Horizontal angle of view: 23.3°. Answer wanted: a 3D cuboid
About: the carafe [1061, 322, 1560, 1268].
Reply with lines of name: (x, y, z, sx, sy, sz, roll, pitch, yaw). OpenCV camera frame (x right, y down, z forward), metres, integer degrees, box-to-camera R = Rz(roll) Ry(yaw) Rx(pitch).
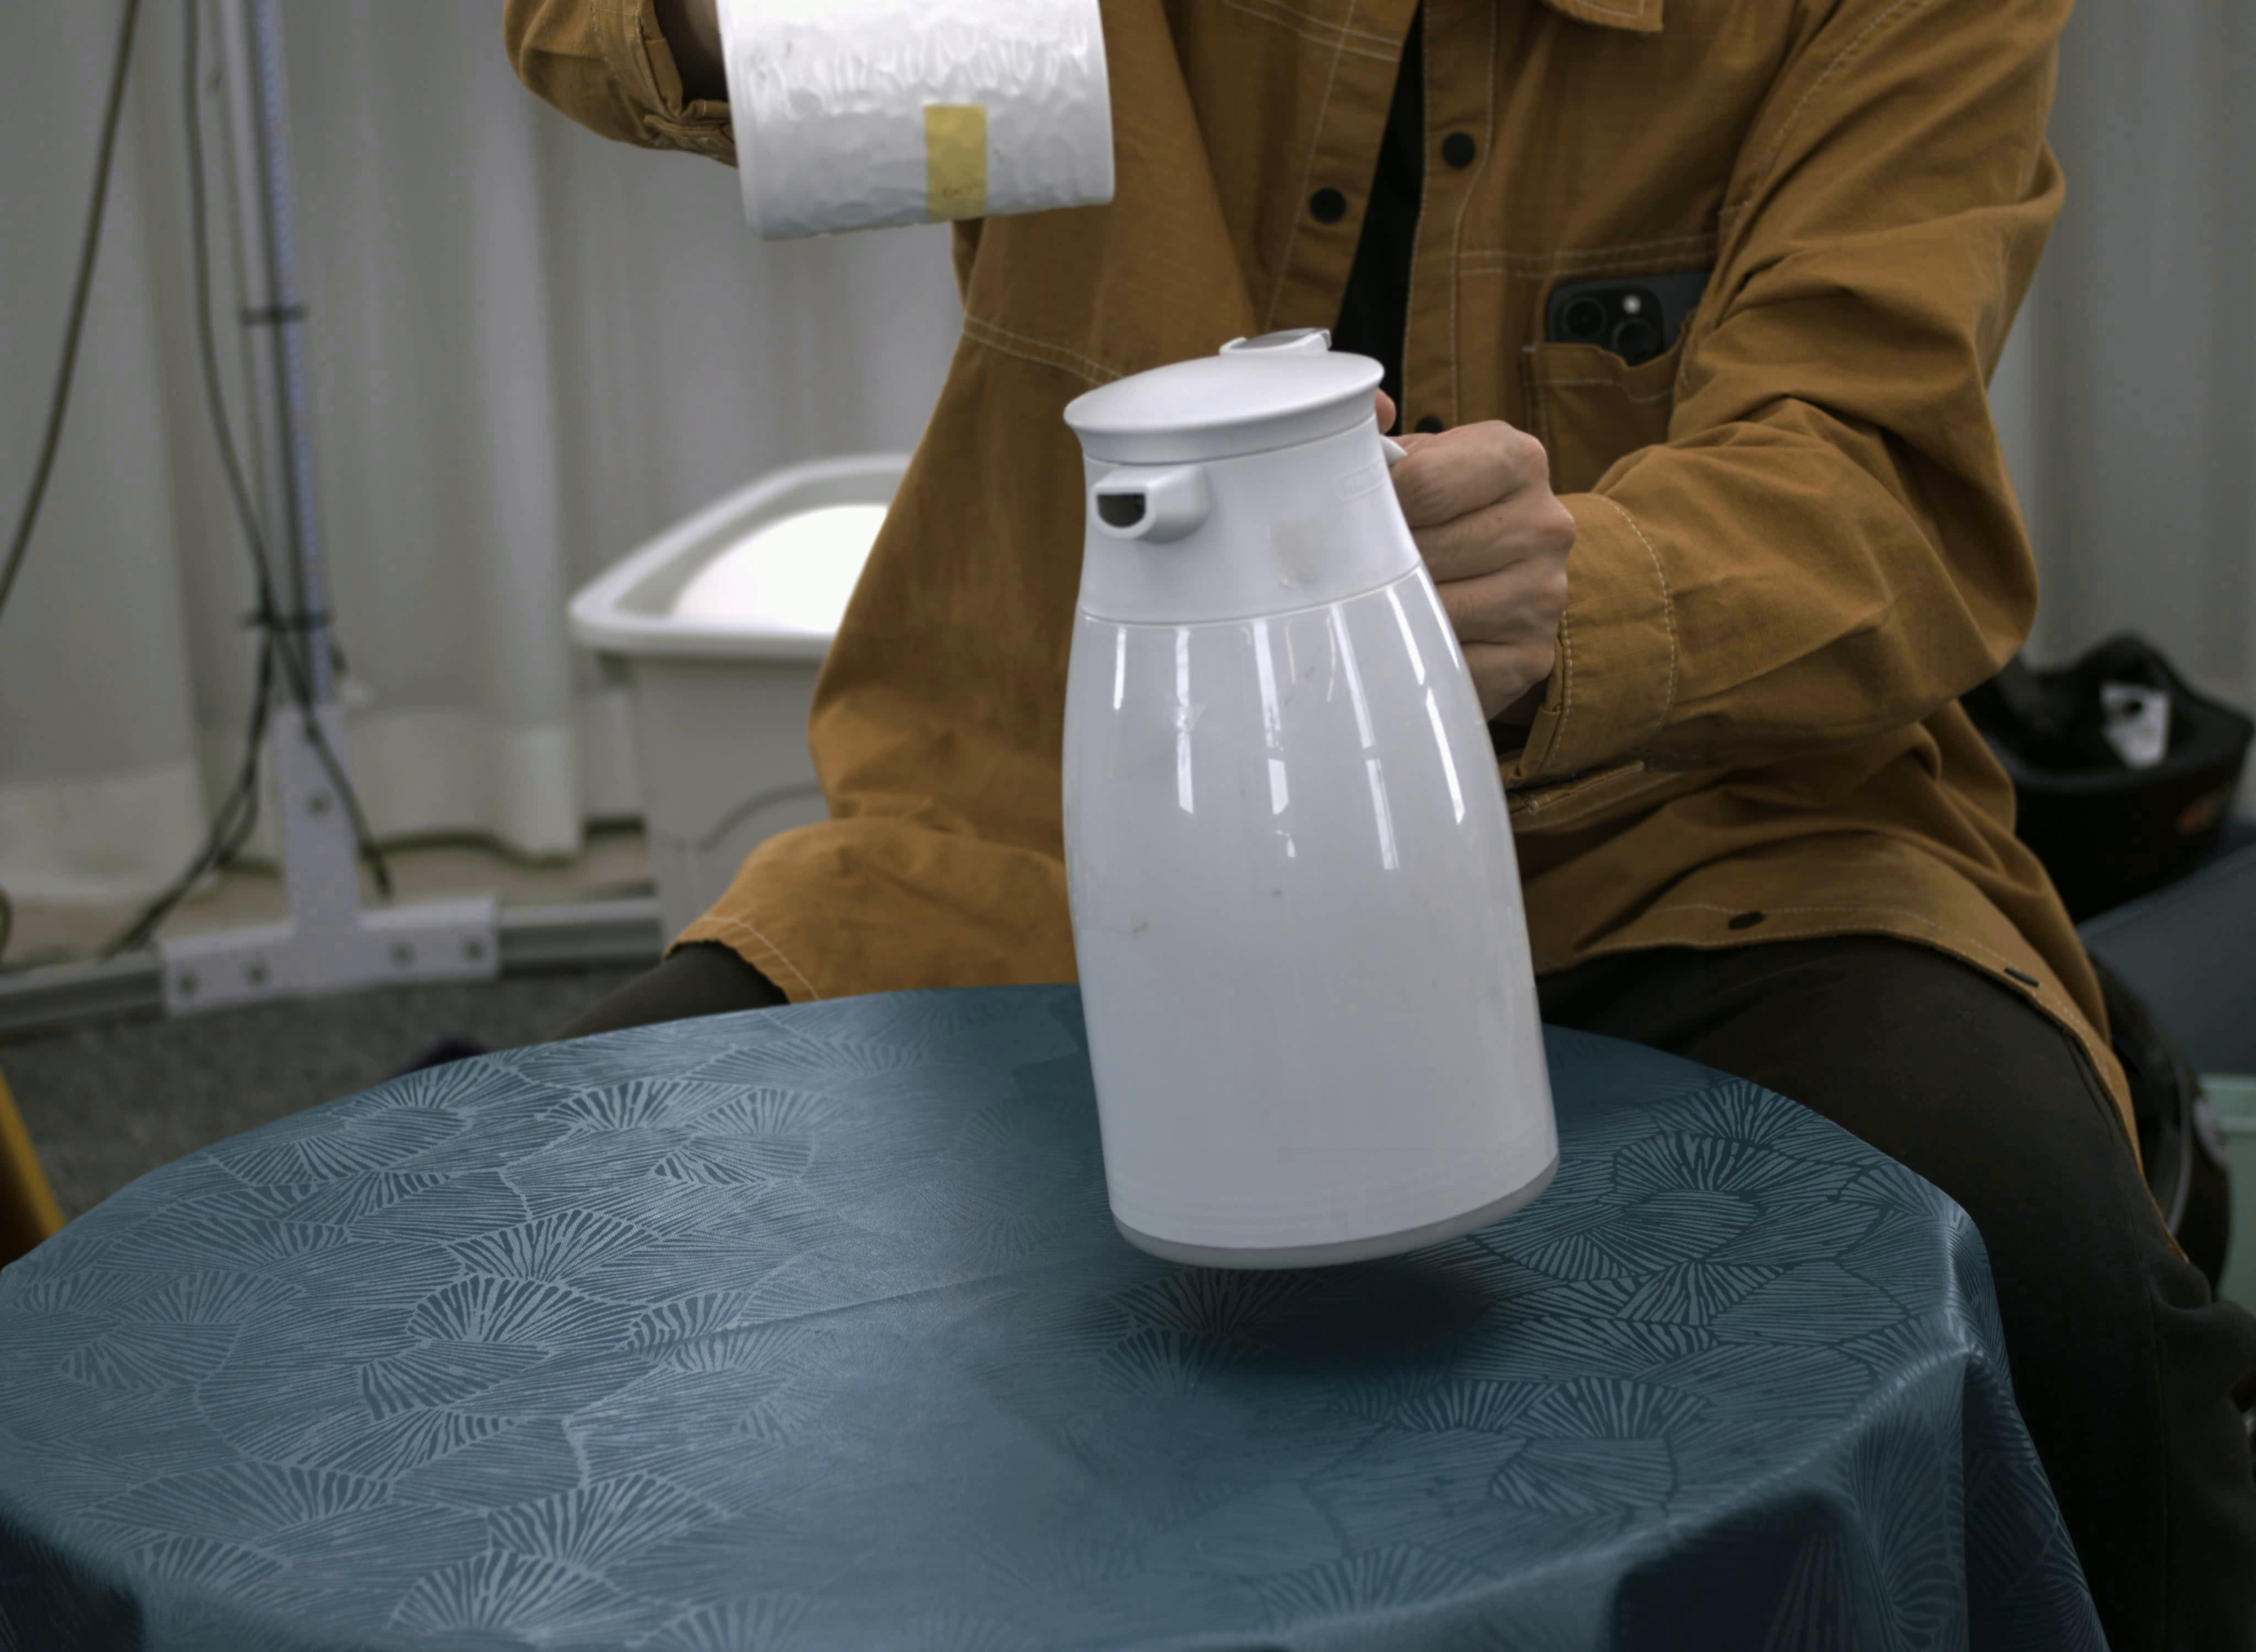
carafe: (0.051, -0.017, 1.582, 0.132, 0.248, 0.168, -1, 14, 30)

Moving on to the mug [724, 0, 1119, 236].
mug: (-0.060, -0.218, 1.526, 0.101, 0.084, 0.120, -7, 32, -3)
